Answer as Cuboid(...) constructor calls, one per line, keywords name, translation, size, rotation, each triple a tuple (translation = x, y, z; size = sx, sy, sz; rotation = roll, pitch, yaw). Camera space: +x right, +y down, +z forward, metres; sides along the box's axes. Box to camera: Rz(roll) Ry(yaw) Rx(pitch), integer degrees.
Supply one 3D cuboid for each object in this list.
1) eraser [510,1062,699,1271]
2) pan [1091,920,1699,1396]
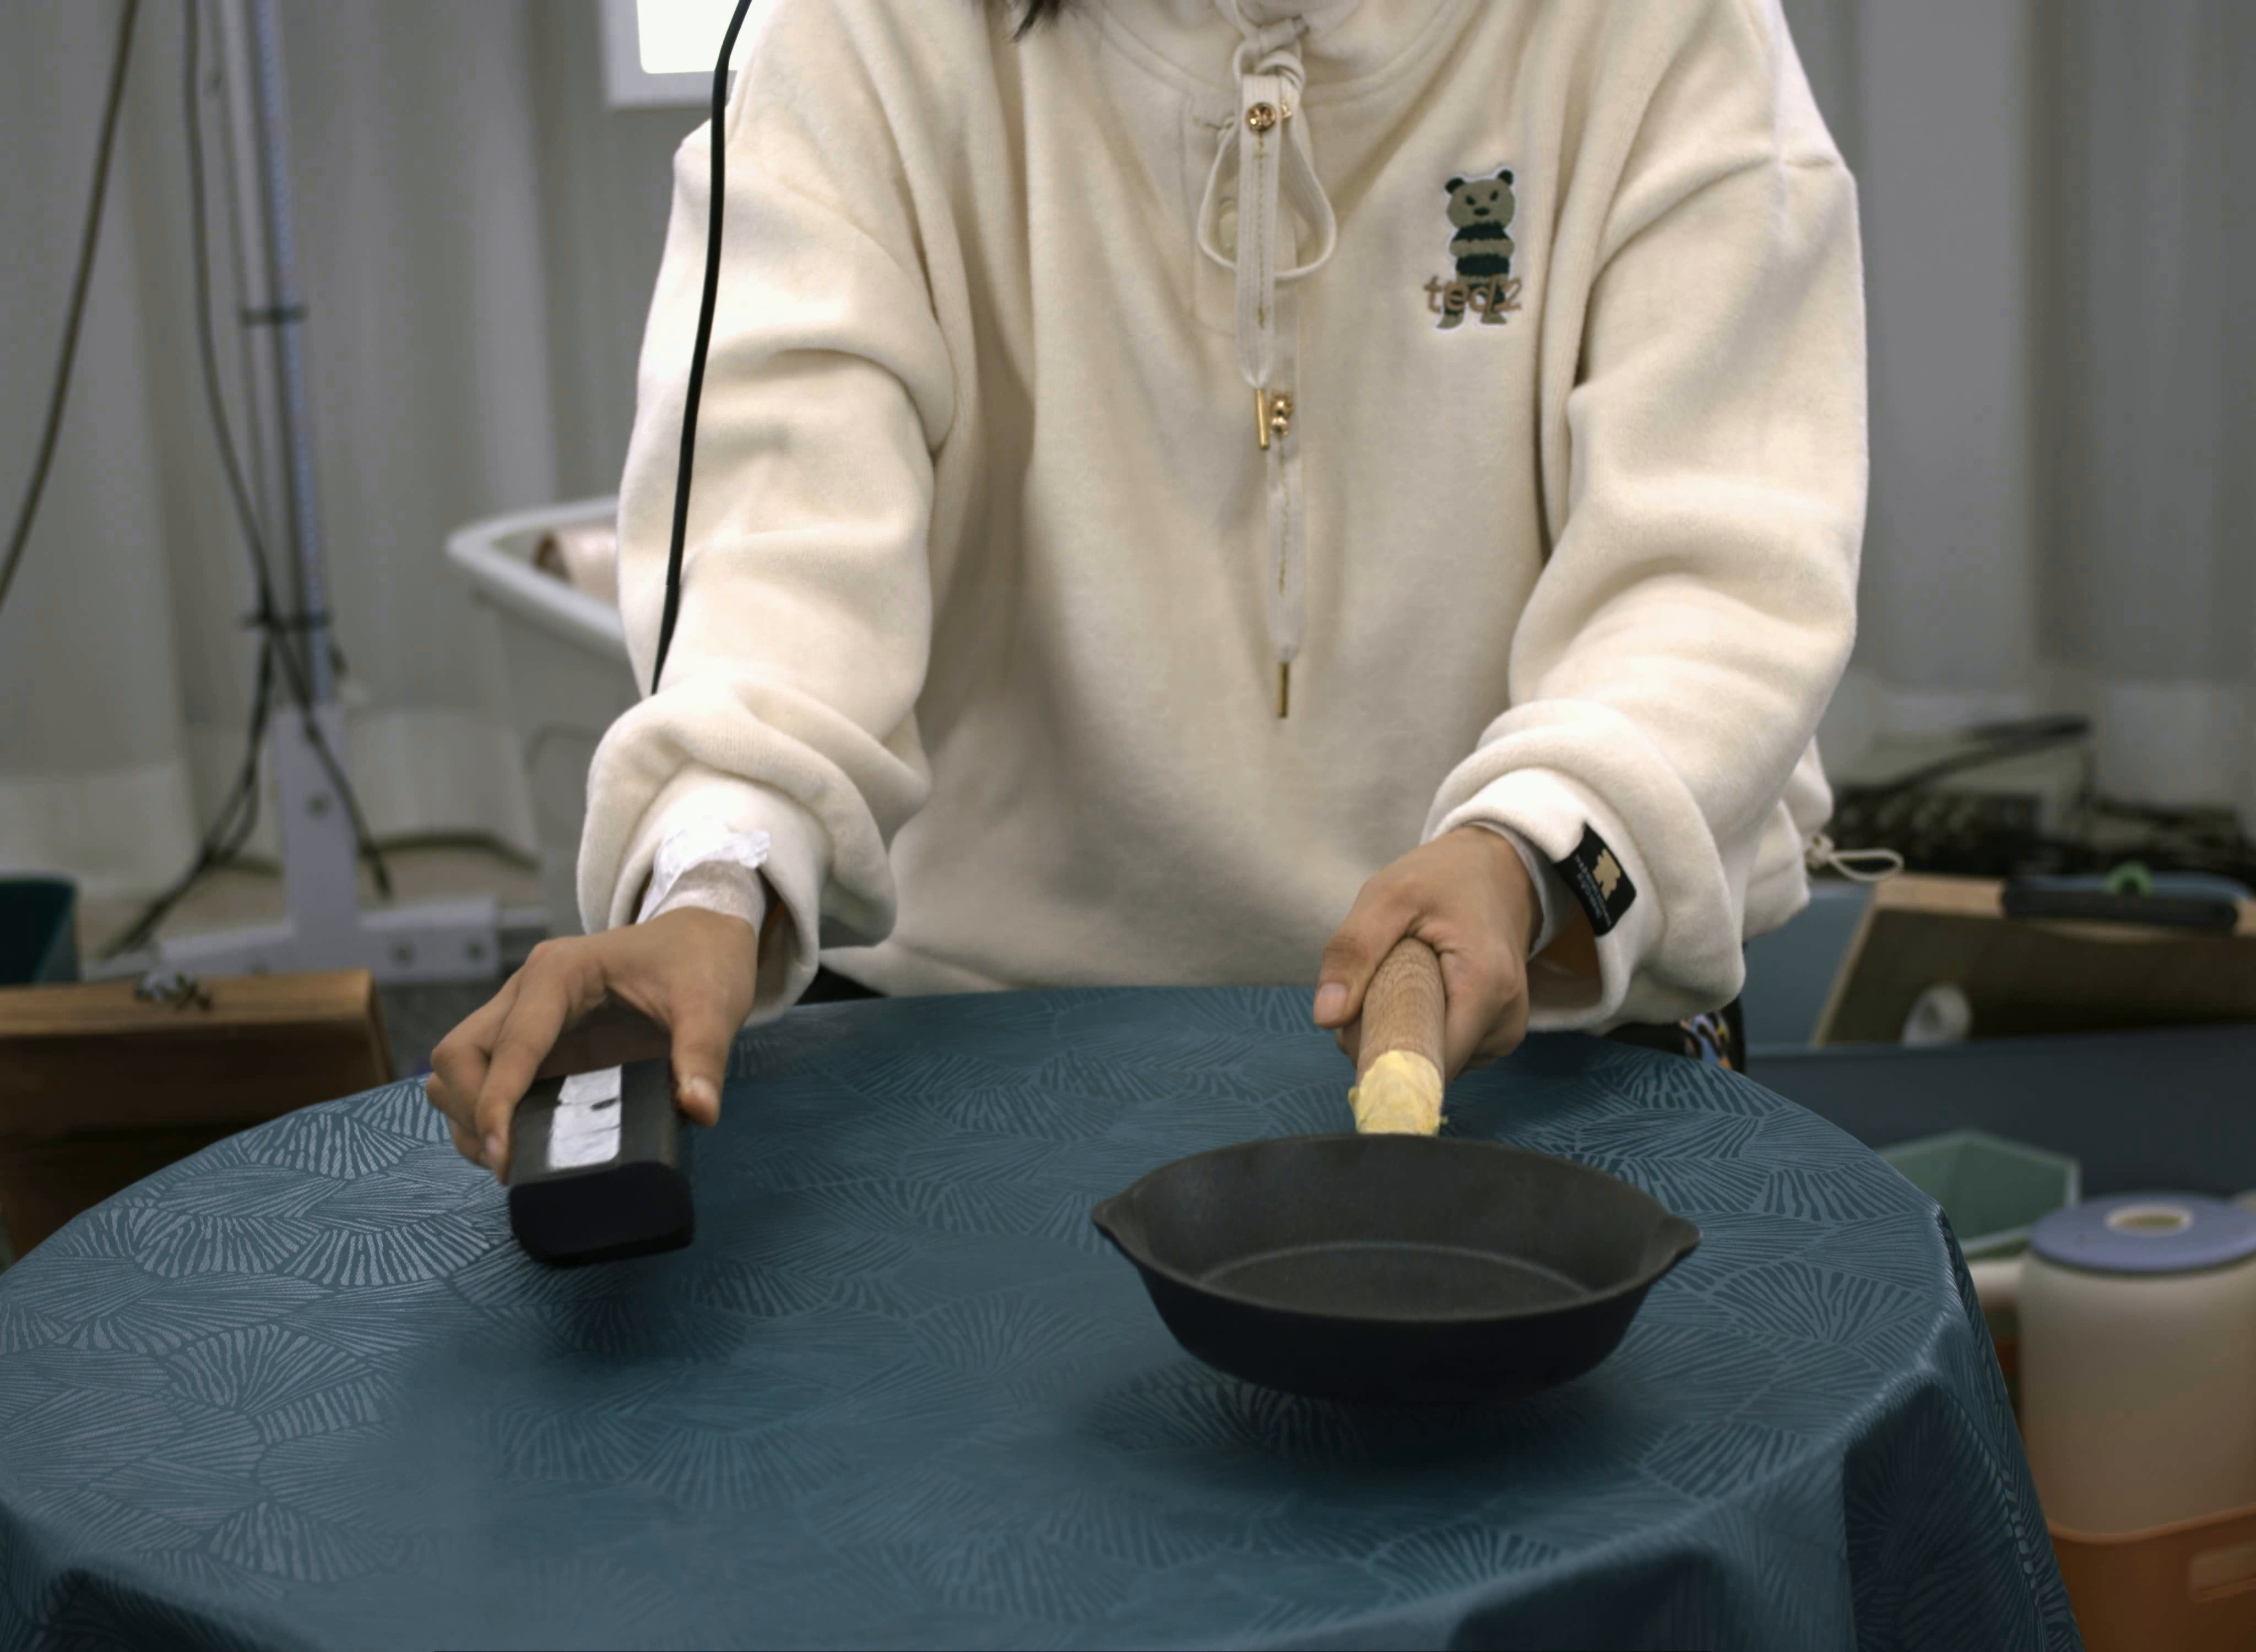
Cuboid(name="eraser", translation=(-0.154, 0.101, 1.632), size=(0.053, 0.030, 0.126), rotation=(-11, 11, -2))
Cuboid(name="pan", translation=(0.081, 0.093, 1.597), size=(0.168, 0.049, 0.326), rotation=(1, 15, 5))
